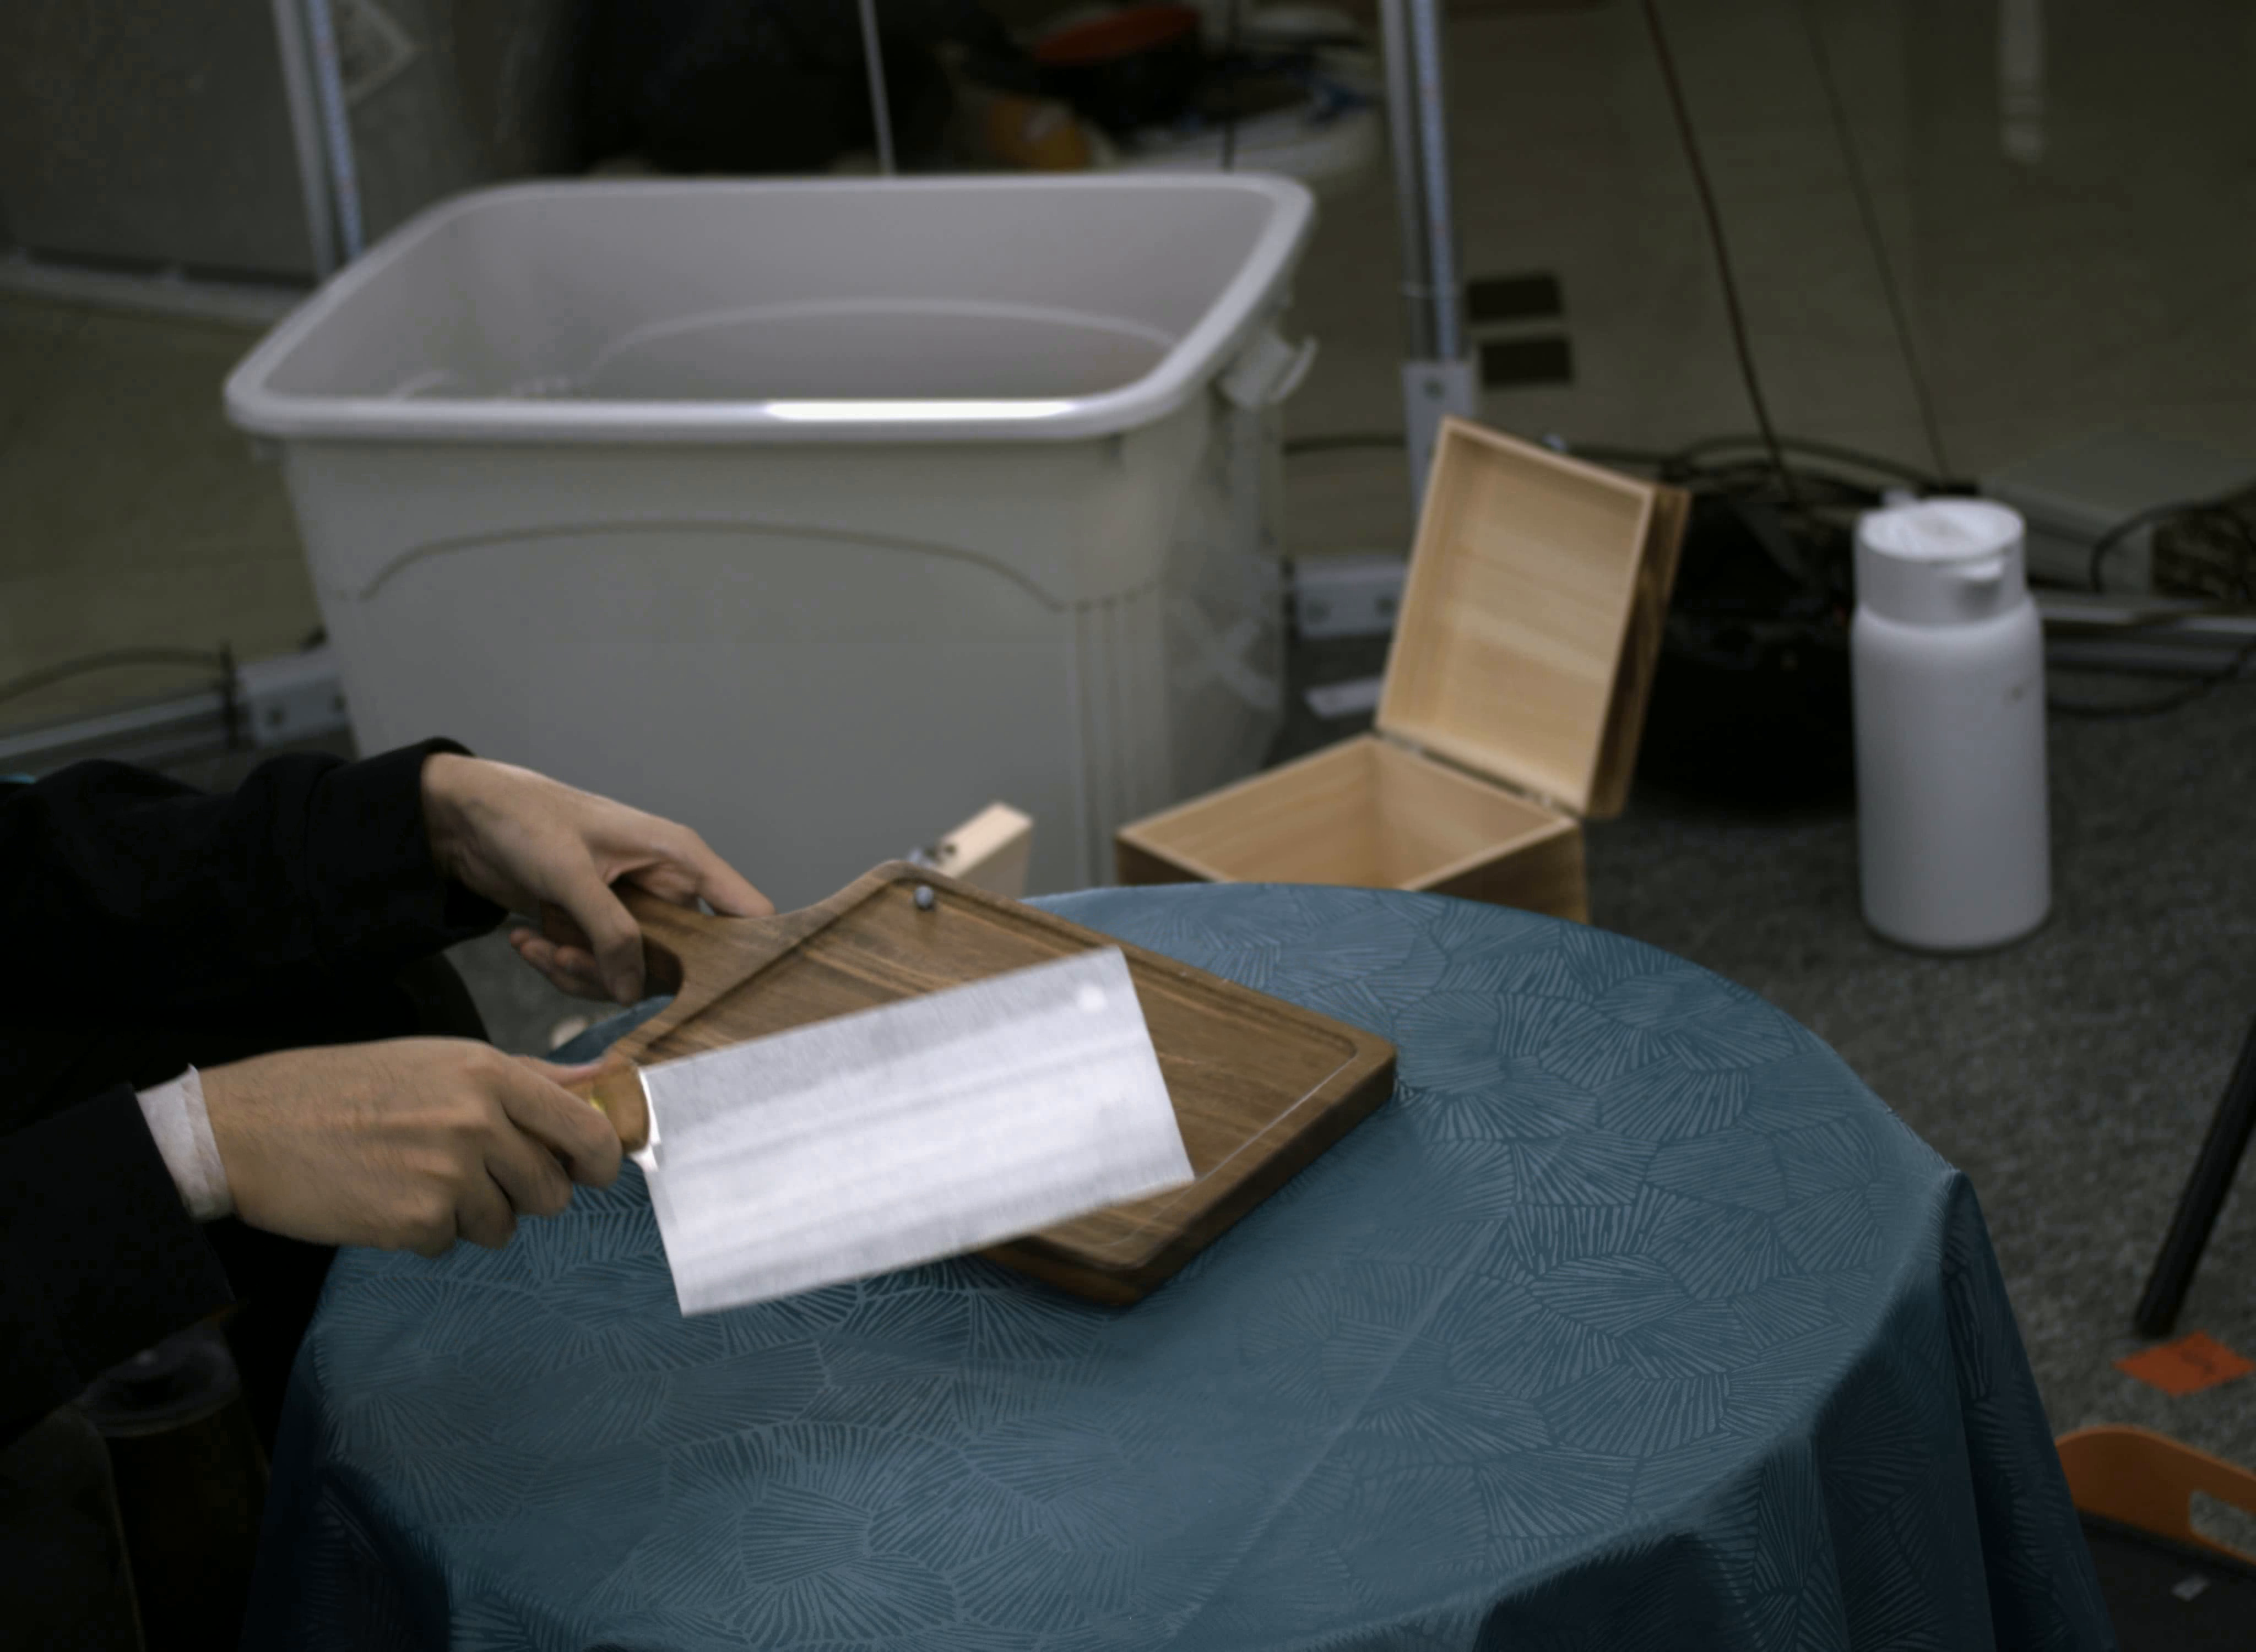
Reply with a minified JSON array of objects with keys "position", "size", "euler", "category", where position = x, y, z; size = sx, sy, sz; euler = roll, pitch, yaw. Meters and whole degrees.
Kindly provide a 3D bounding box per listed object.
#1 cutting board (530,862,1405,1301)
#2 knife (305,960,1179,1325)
[{"position":[-0.088,0.080,2.208],"size":[0.350,0.023,0.199],"euler":[19,34,27],"category":"cutting board"},{"position":[-0.132,0.123,1.993],"size":[0.305,0.092,0.021],"euler":[-14,-11,-12],"category":"knife"}]
